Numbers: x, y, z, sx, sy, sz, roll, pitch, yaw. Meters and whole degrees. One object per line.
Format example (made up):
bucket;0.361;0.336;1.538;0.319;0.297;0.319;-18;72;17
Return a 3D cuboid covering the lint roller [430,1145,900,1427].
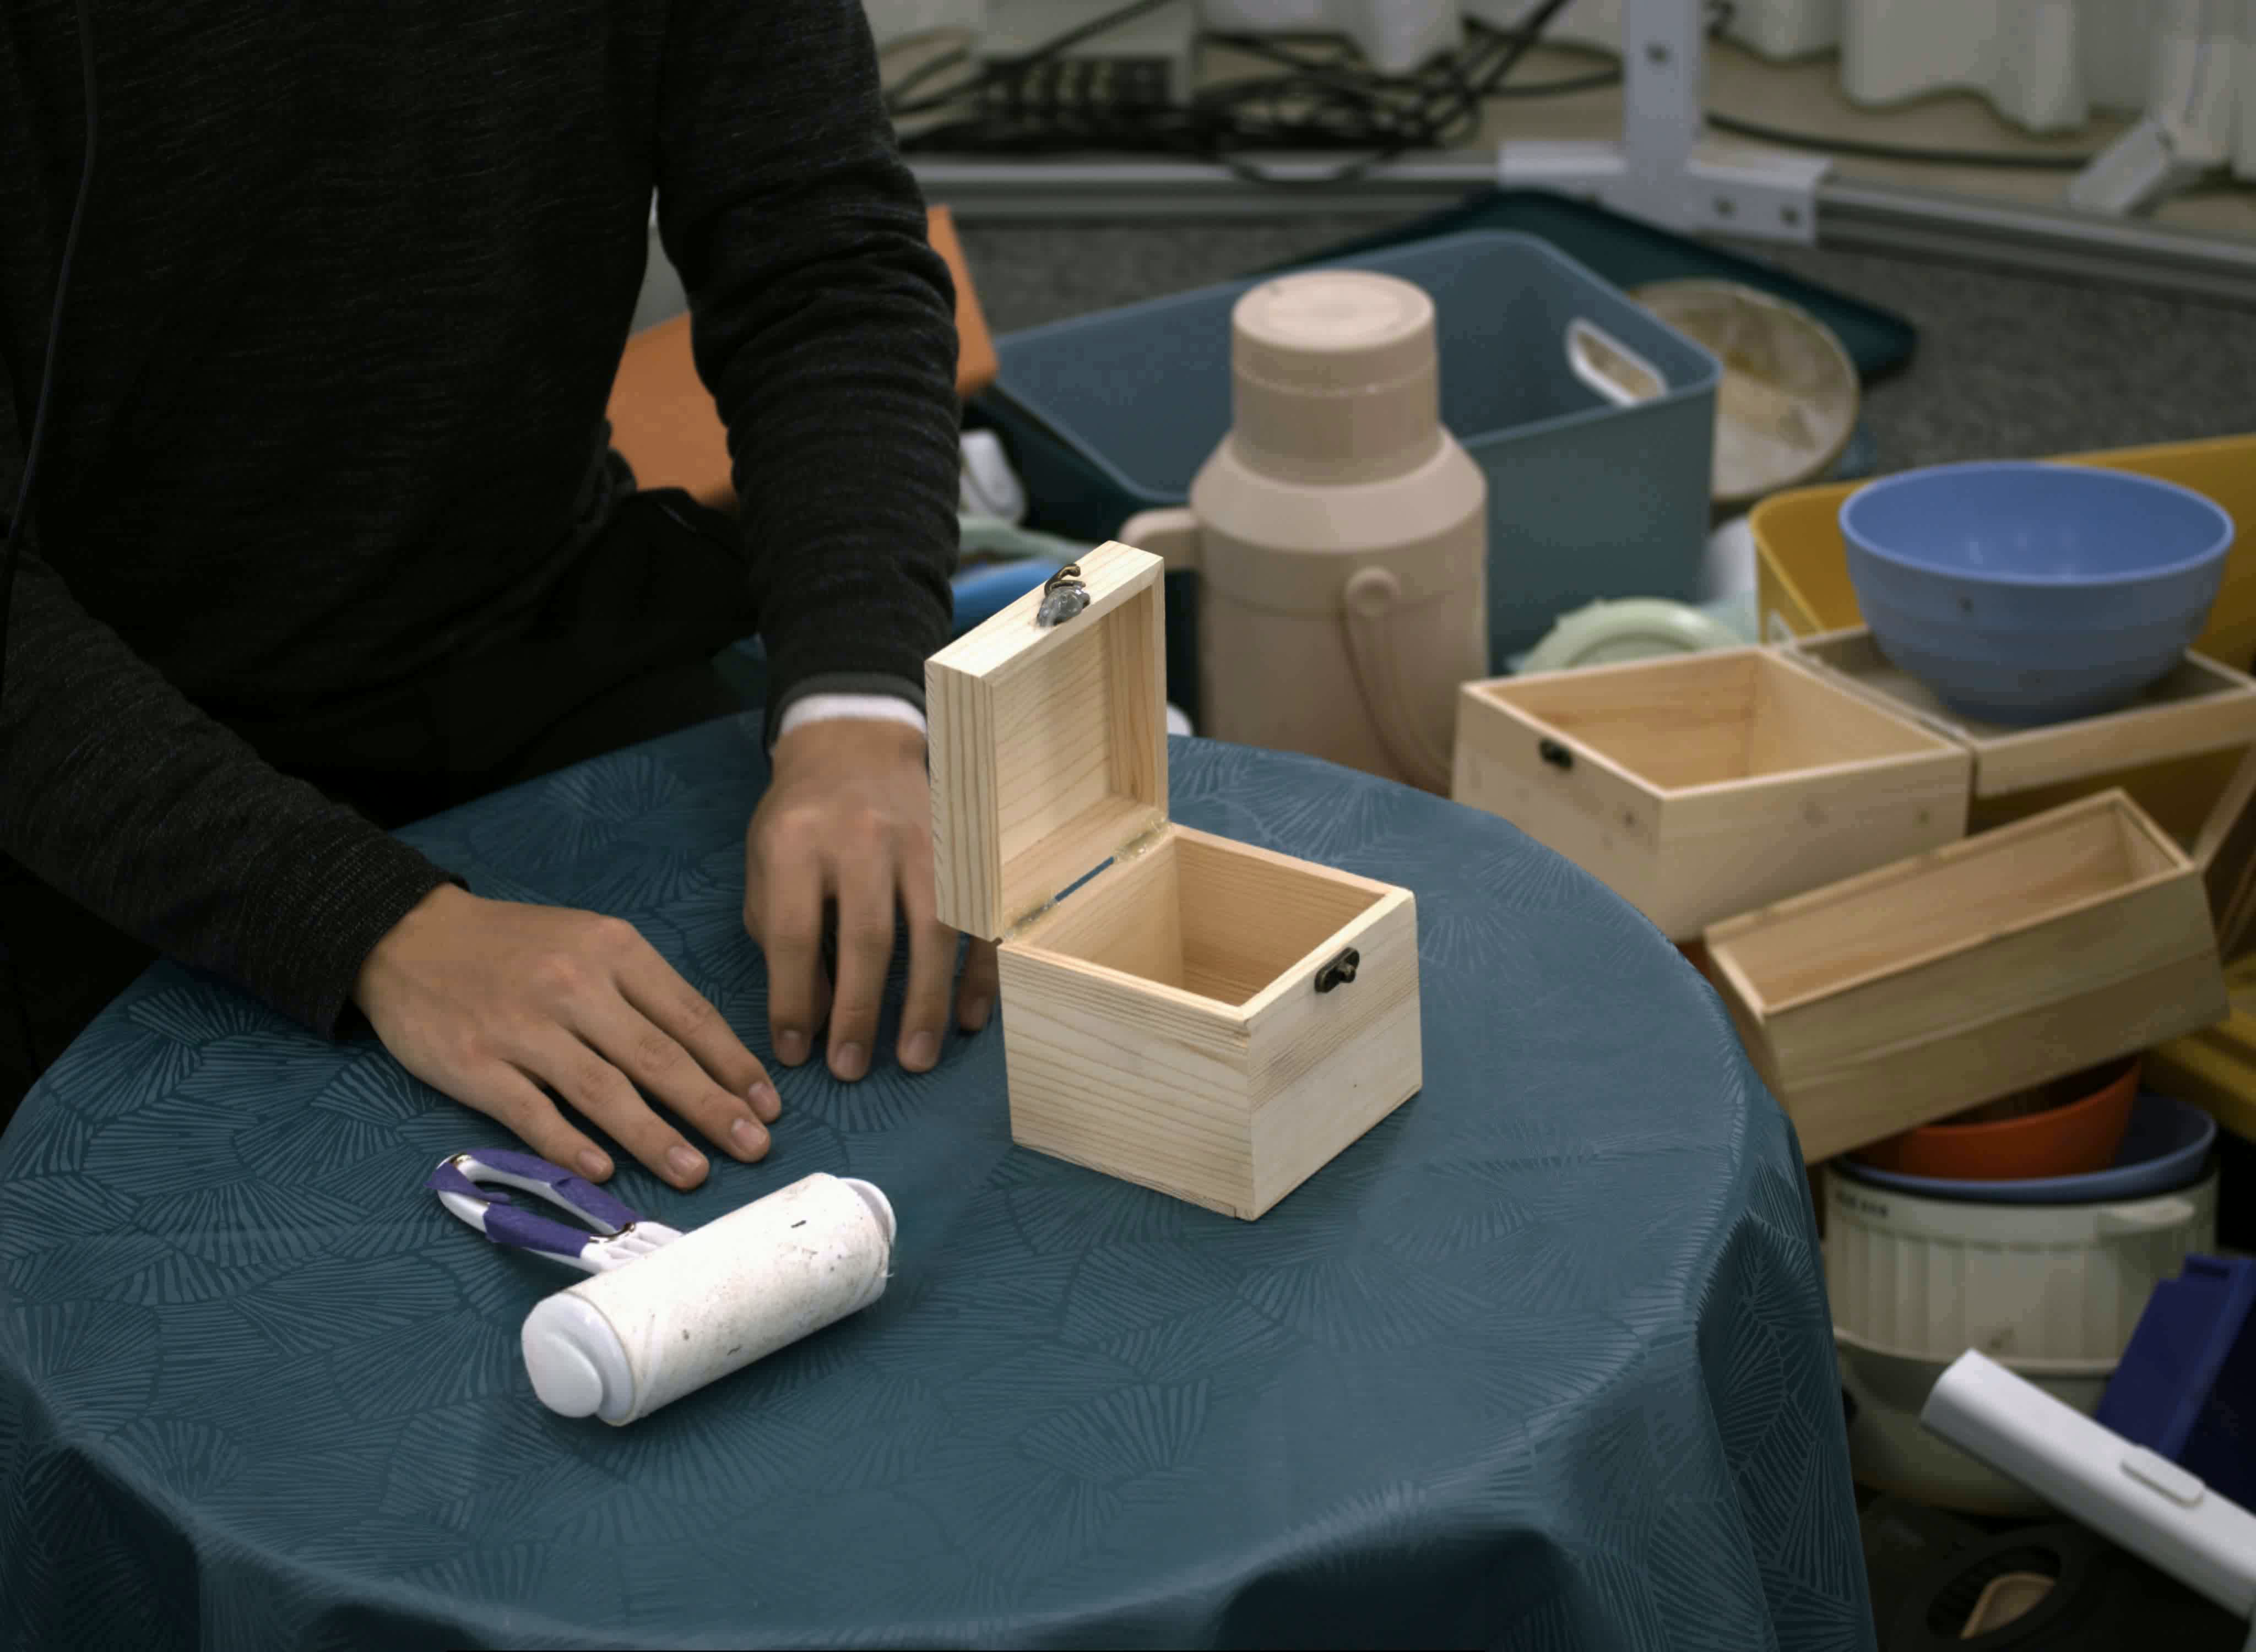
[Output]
lint roller;-0.170;0.127;1.817;0.134;0.049;0.181;-23;35;-32

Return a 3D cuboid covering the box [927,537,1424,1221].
box;0.019;0.015;1.867;0.133;0.182;0.104;15;32;33
